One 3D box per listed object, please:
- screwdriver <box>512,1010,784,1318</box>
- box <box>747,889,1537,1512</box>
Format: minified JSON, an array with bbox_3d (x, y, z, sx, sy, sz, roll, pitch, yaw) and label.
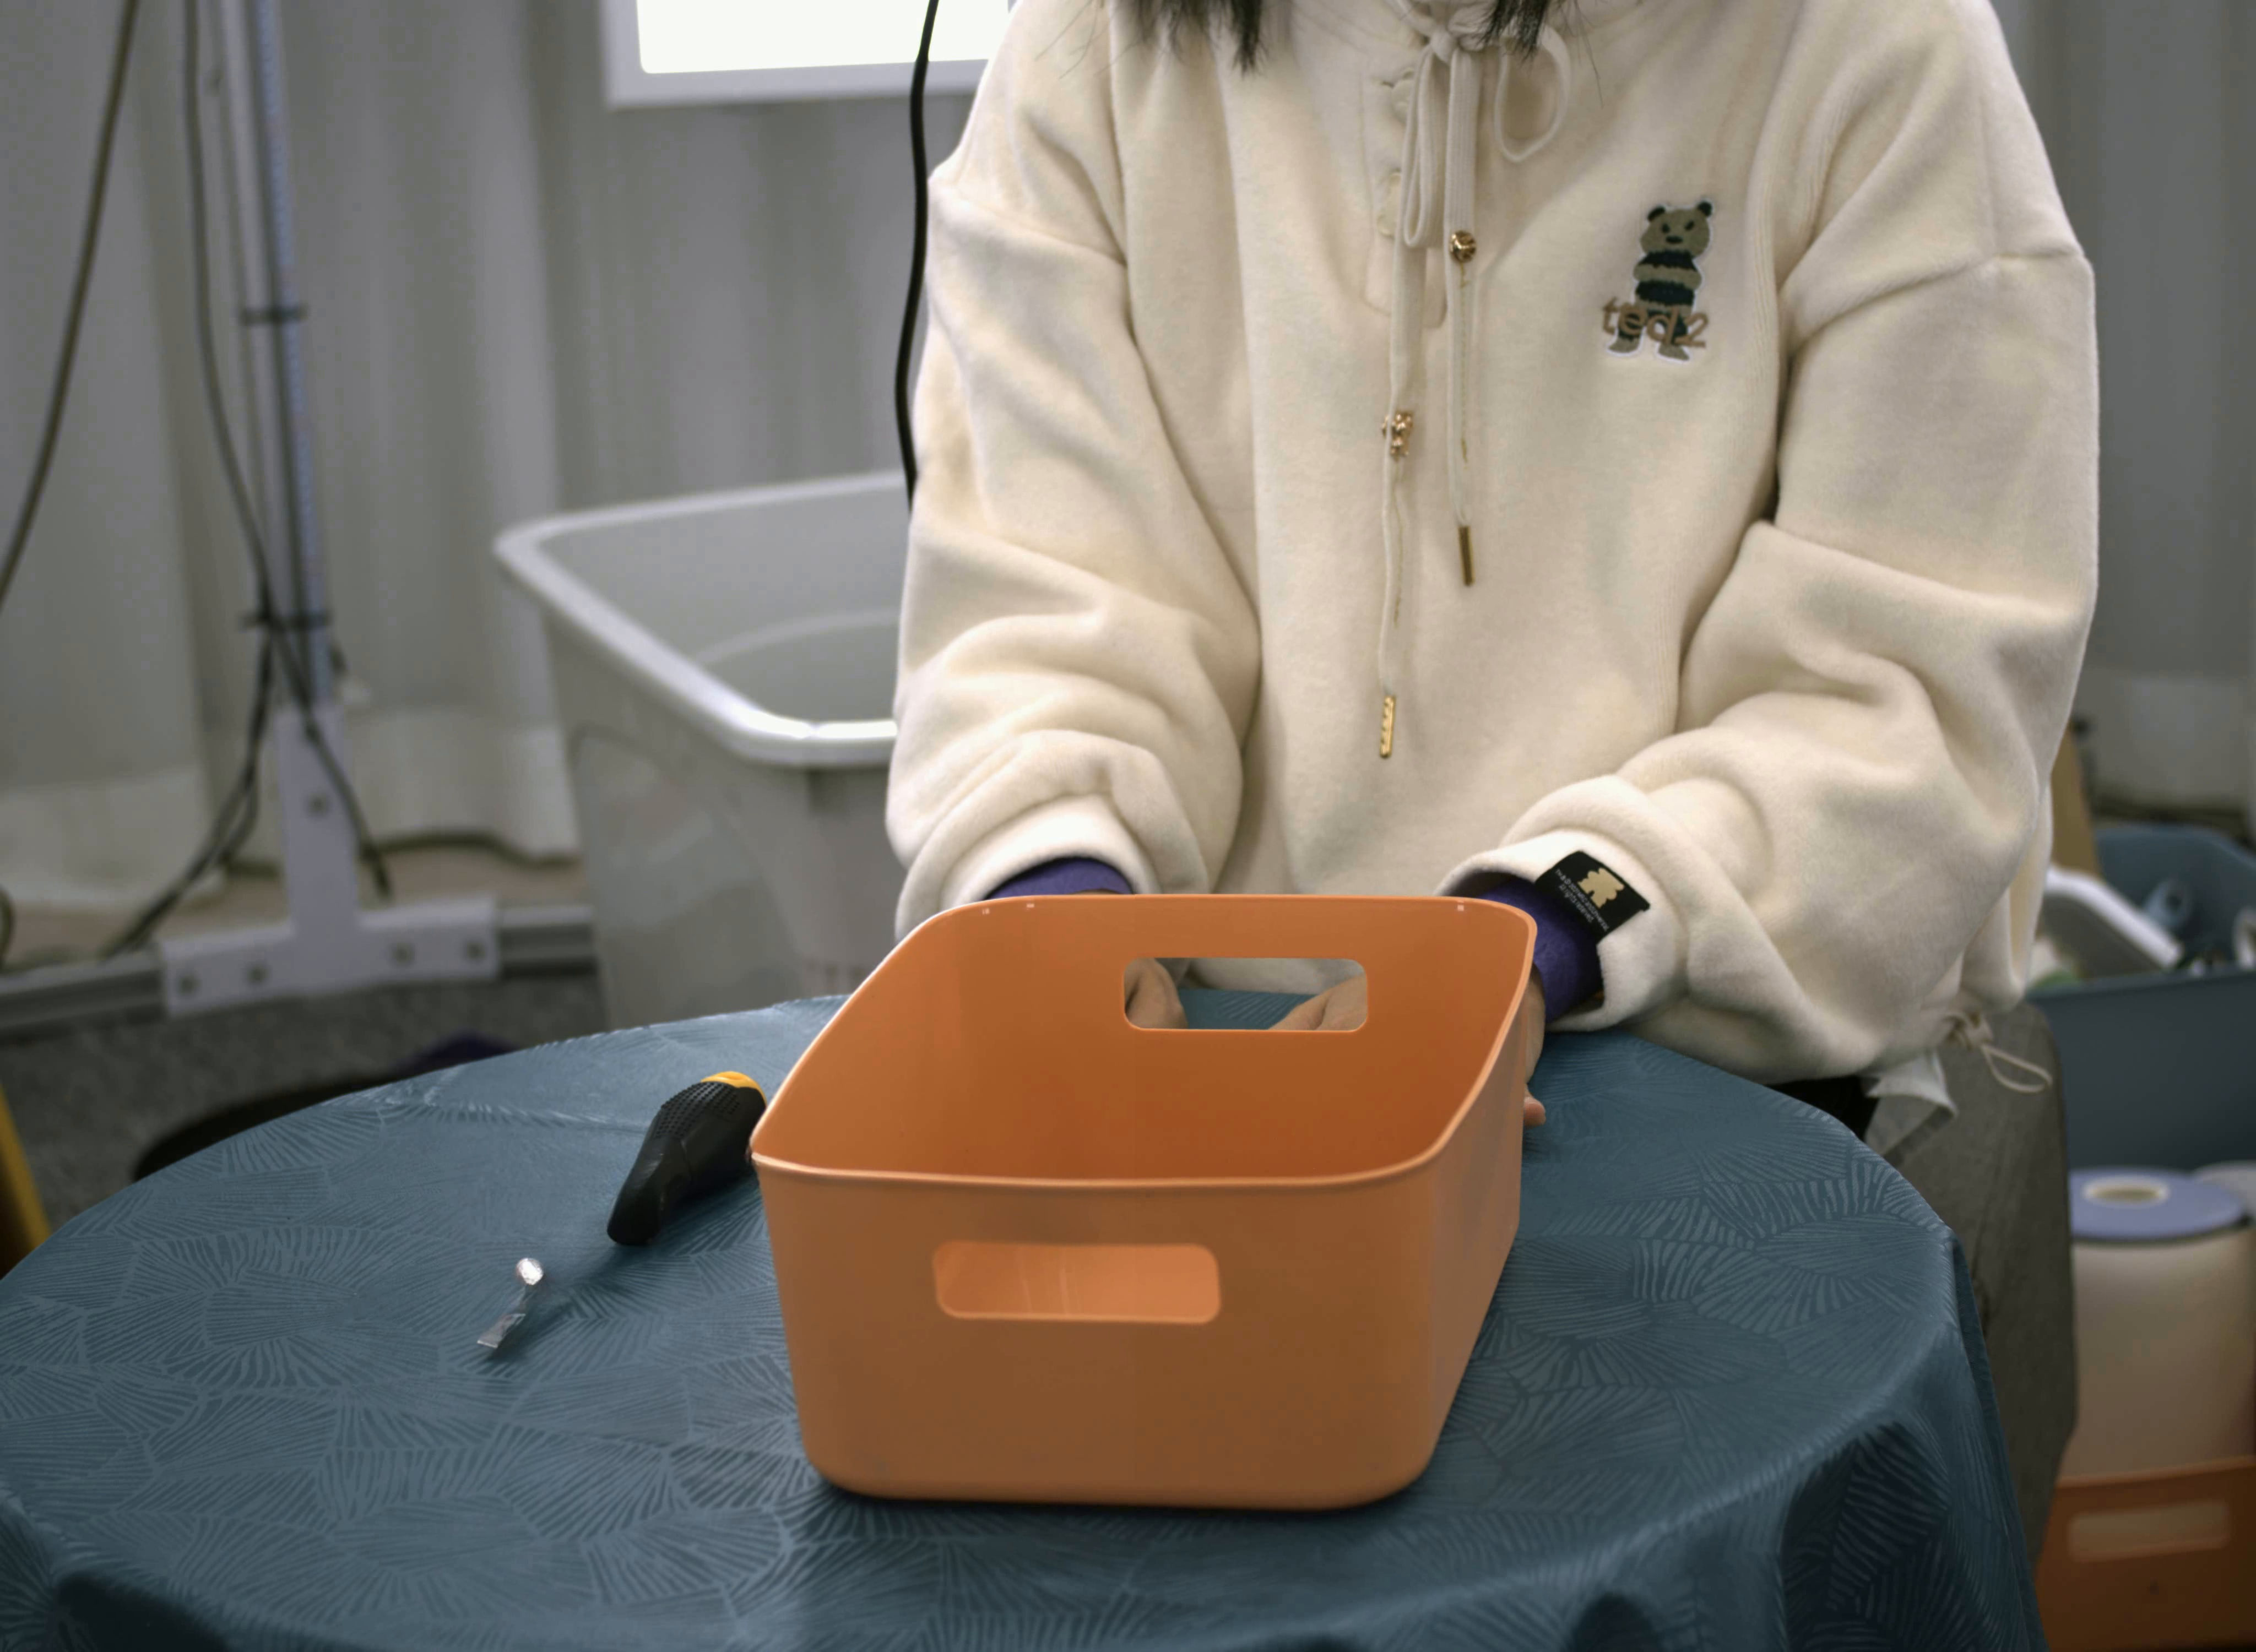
[{"bbox_3d":[-0.146,0.106,1.685,0.031,0.031,0.199,1,24,15],"label":"screwdriver"},{"bbox_3d":[0.014,0.103,1.554,0.199,0.102,0.274,-1,15,11],"label":"box"}]
